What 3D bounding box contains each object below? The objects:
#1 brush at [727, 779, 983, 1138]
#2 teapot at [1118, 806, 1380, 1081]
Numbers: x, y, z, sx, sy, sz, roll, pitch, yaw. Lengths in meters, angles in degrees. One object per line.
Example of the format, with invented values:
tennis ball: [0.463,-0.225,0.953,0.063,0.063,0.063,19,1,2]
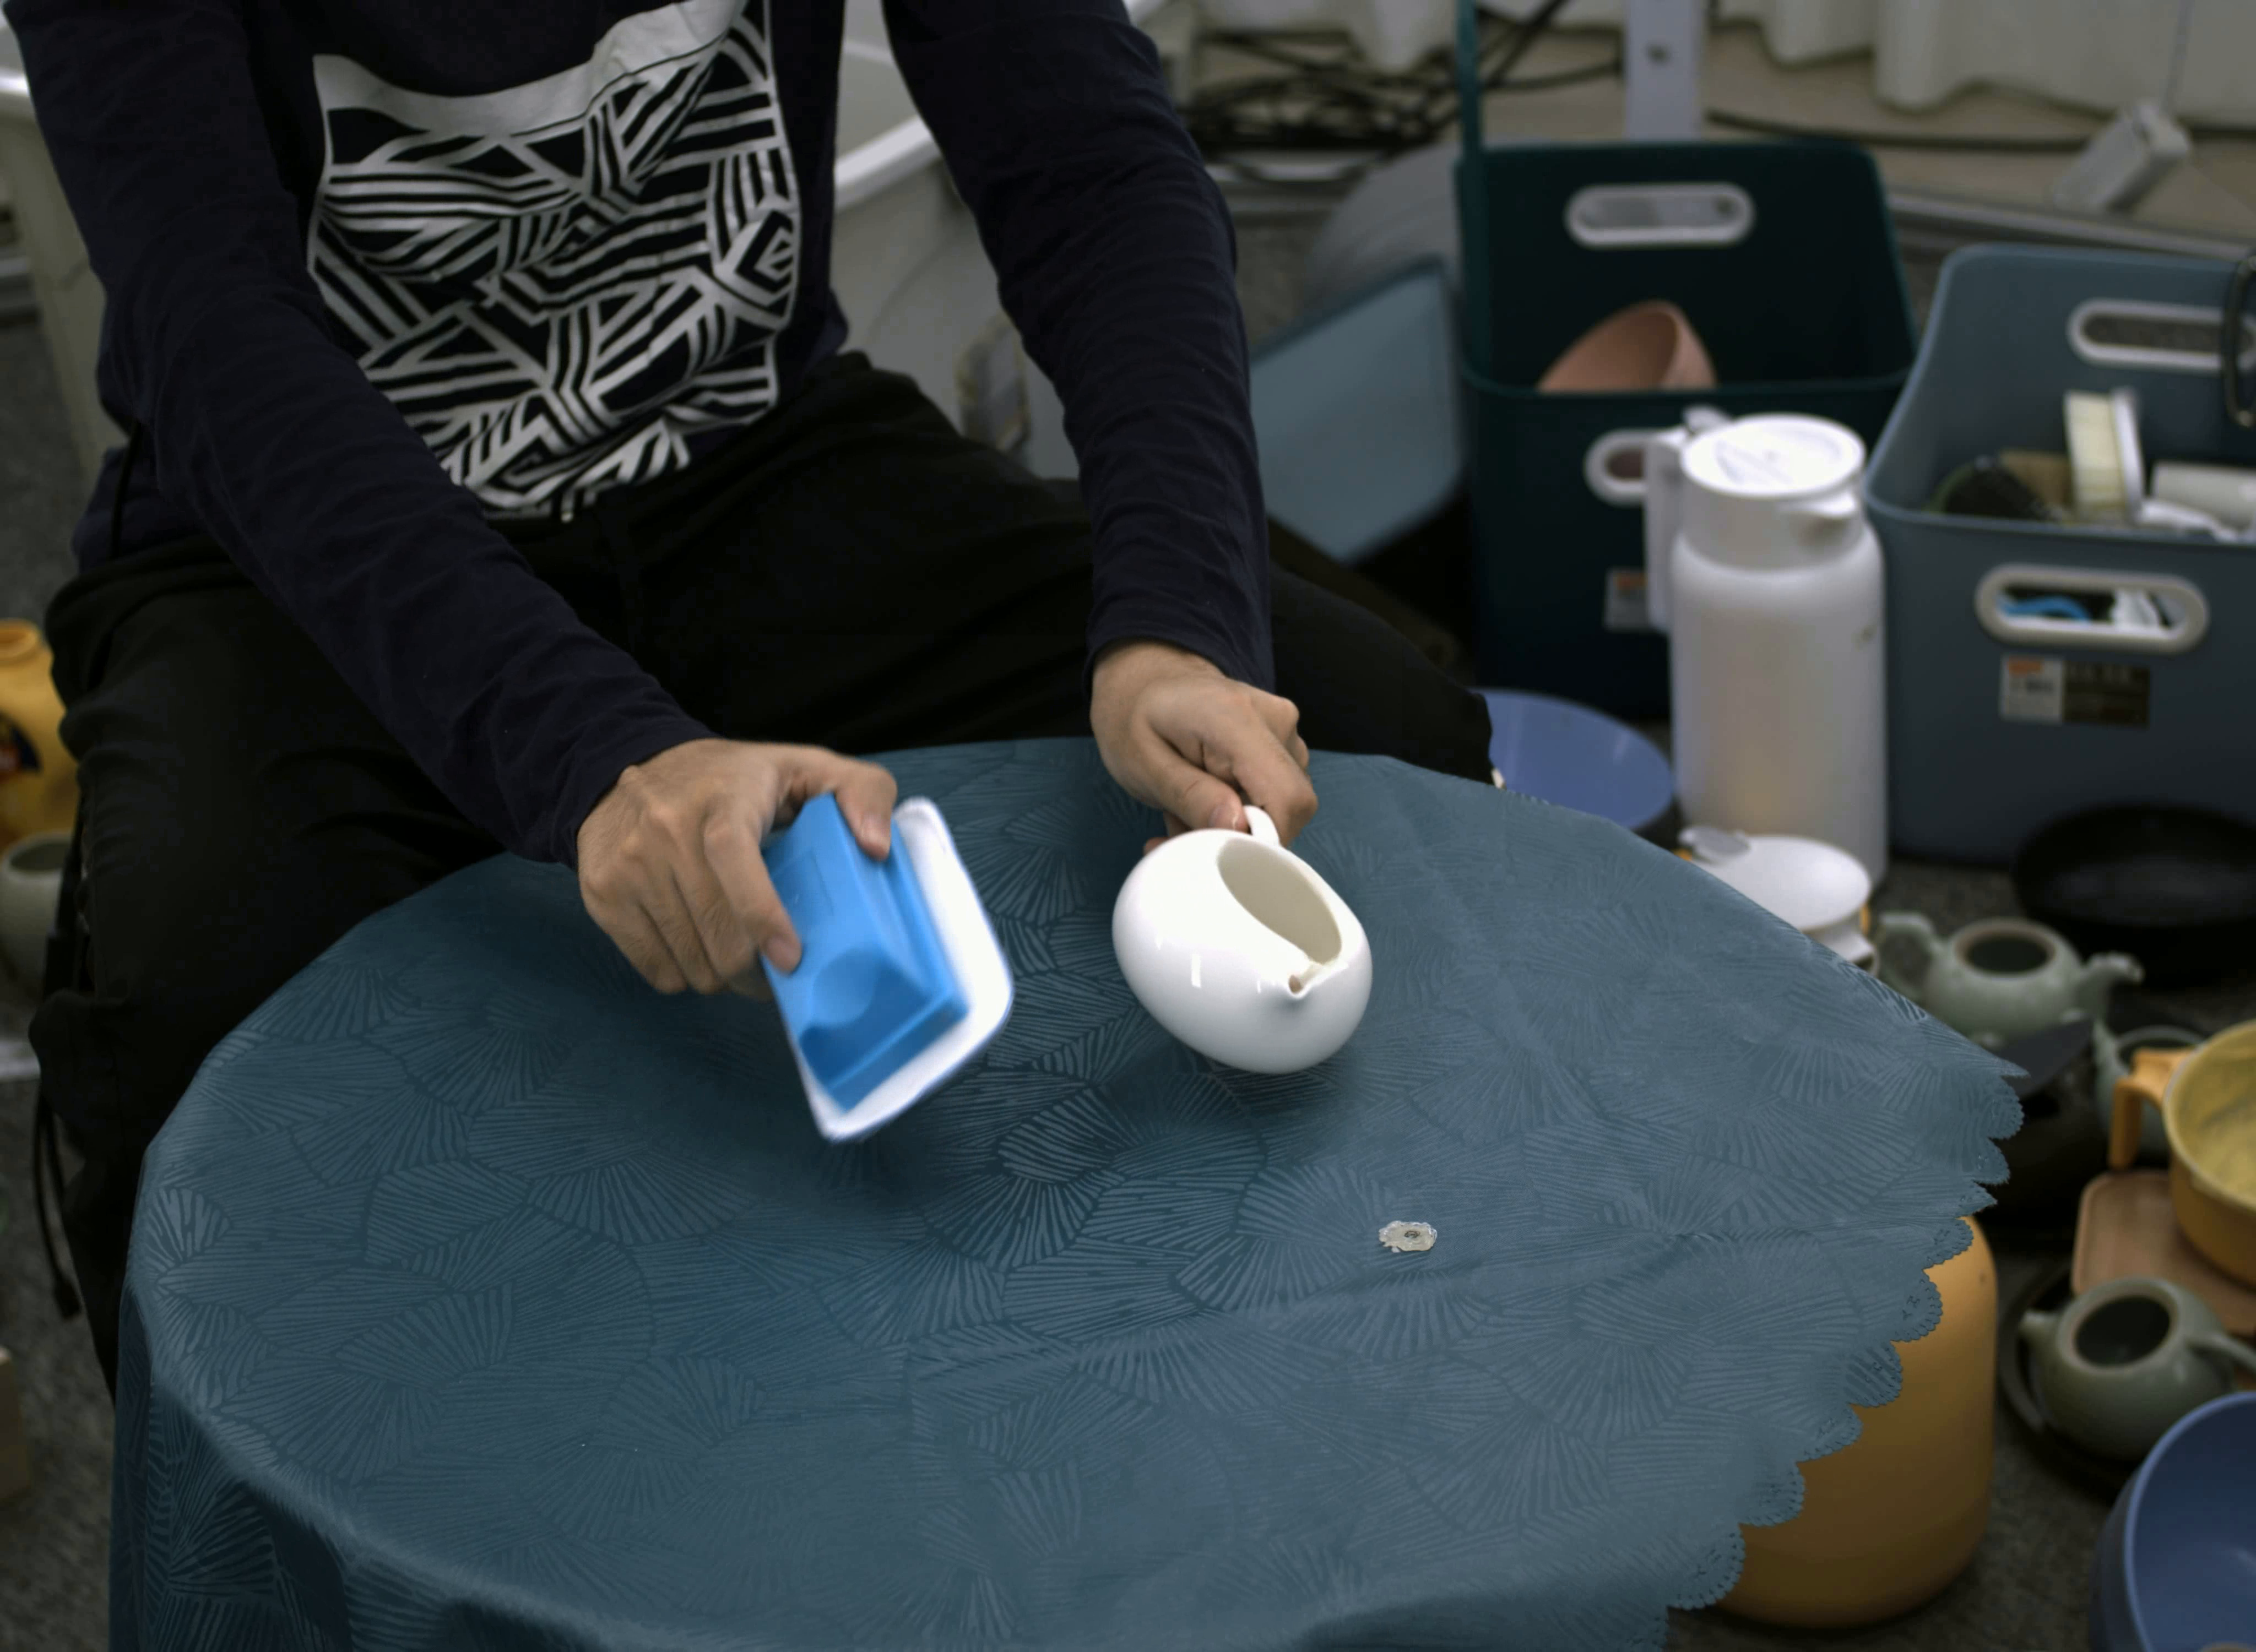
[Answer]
brush: [-0.099,0.037,1.880,0.083,0.055,0.146,-32,36,10]
teapot: [0.039,0.039,1.917,0.093,0.056,0.129,19,29,-25]
